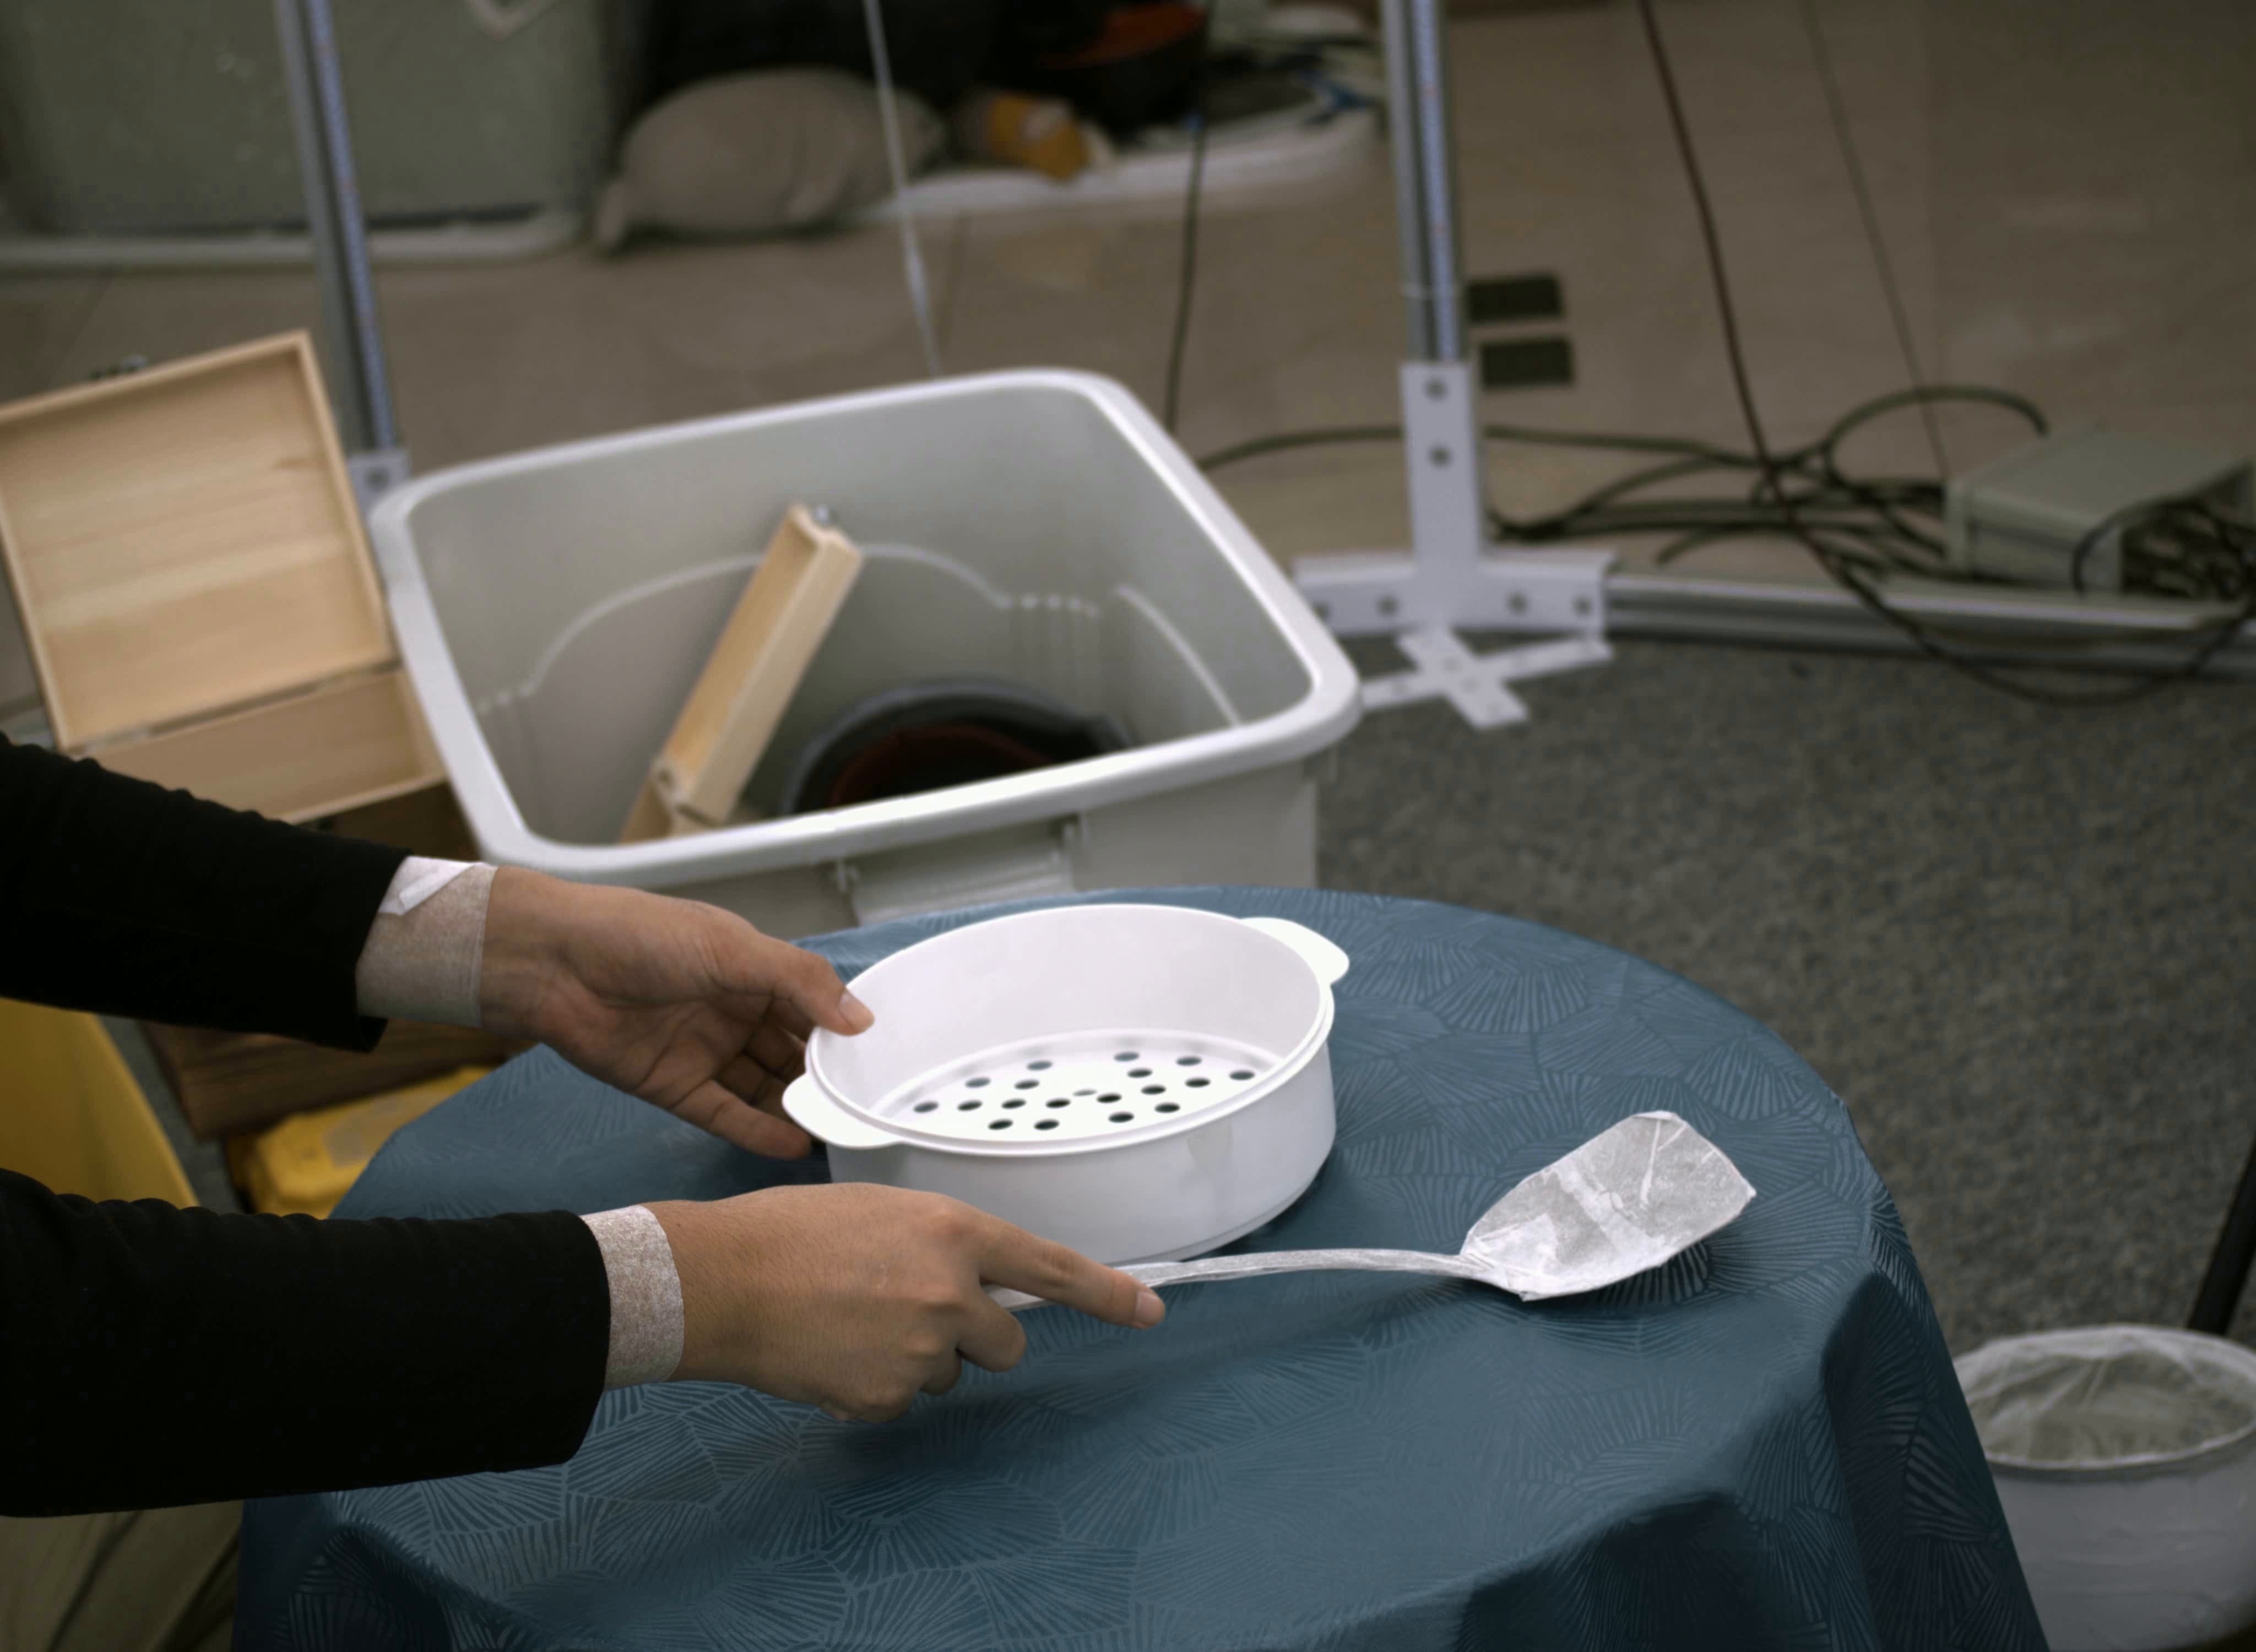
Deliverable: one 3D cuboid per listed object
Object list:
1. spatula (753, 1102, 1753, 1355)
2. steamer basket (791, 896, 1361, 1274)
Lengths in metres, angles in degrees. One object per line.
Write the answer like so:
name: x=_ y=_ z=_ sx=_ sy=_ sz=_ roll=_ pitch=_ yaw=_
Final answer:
spatula: x=0.046 y=0.152 z=2.031 sx=0.364 sy=0.045 sz=0.097 roll=-5 pitch=26 yaw=-15
steamer basket: x=-0.015 y=0.099 z=2.152 sx=0.229 sy=0.070 sz=0.199 roll=-19 pitch=28 yaw=-24
